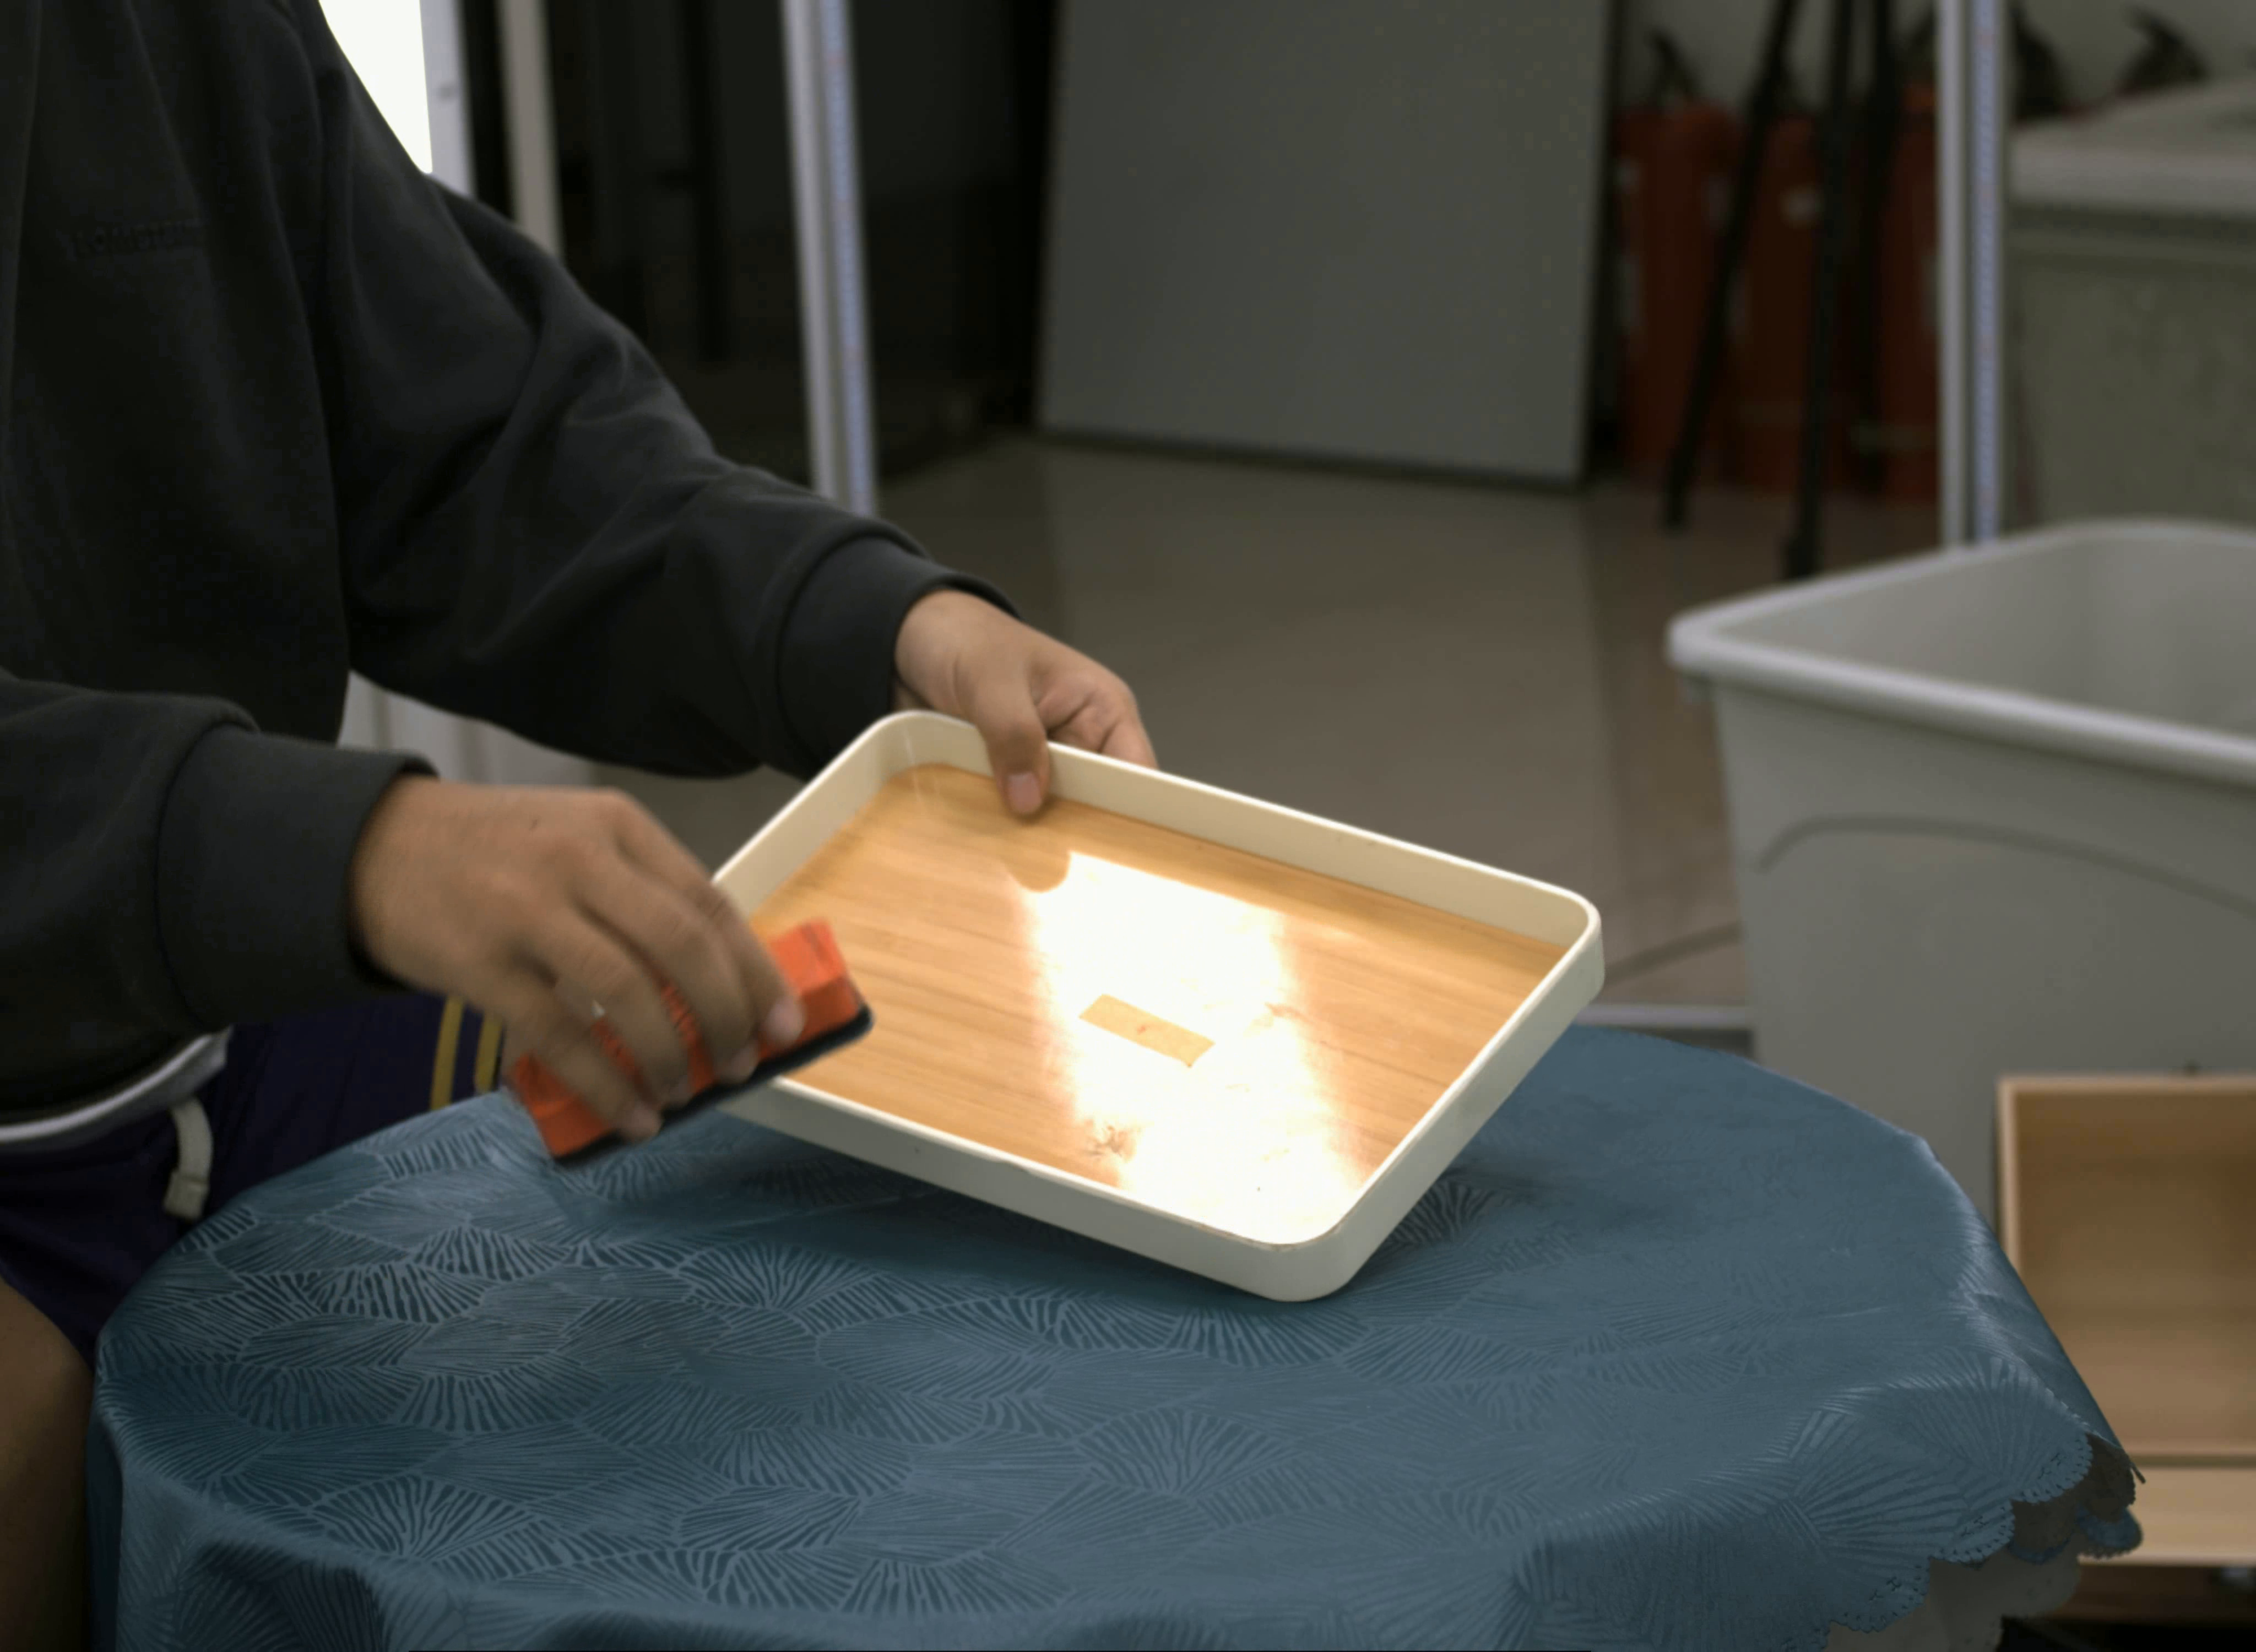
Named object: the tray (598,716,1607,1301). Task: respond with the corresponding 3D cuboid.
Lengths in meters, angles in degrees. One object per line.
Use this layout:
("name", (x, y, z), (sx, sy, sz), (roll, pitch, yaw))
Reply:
("tray", (-0.010, 0.054, 1.776), (0.302, 0.027, 0.190), (15, 45, 35))

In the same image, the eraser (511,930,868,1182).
("eraser", (-0.133, 0.069, 1.637), (0.107, 0.023, 0.059), (-25, 19, -2))
